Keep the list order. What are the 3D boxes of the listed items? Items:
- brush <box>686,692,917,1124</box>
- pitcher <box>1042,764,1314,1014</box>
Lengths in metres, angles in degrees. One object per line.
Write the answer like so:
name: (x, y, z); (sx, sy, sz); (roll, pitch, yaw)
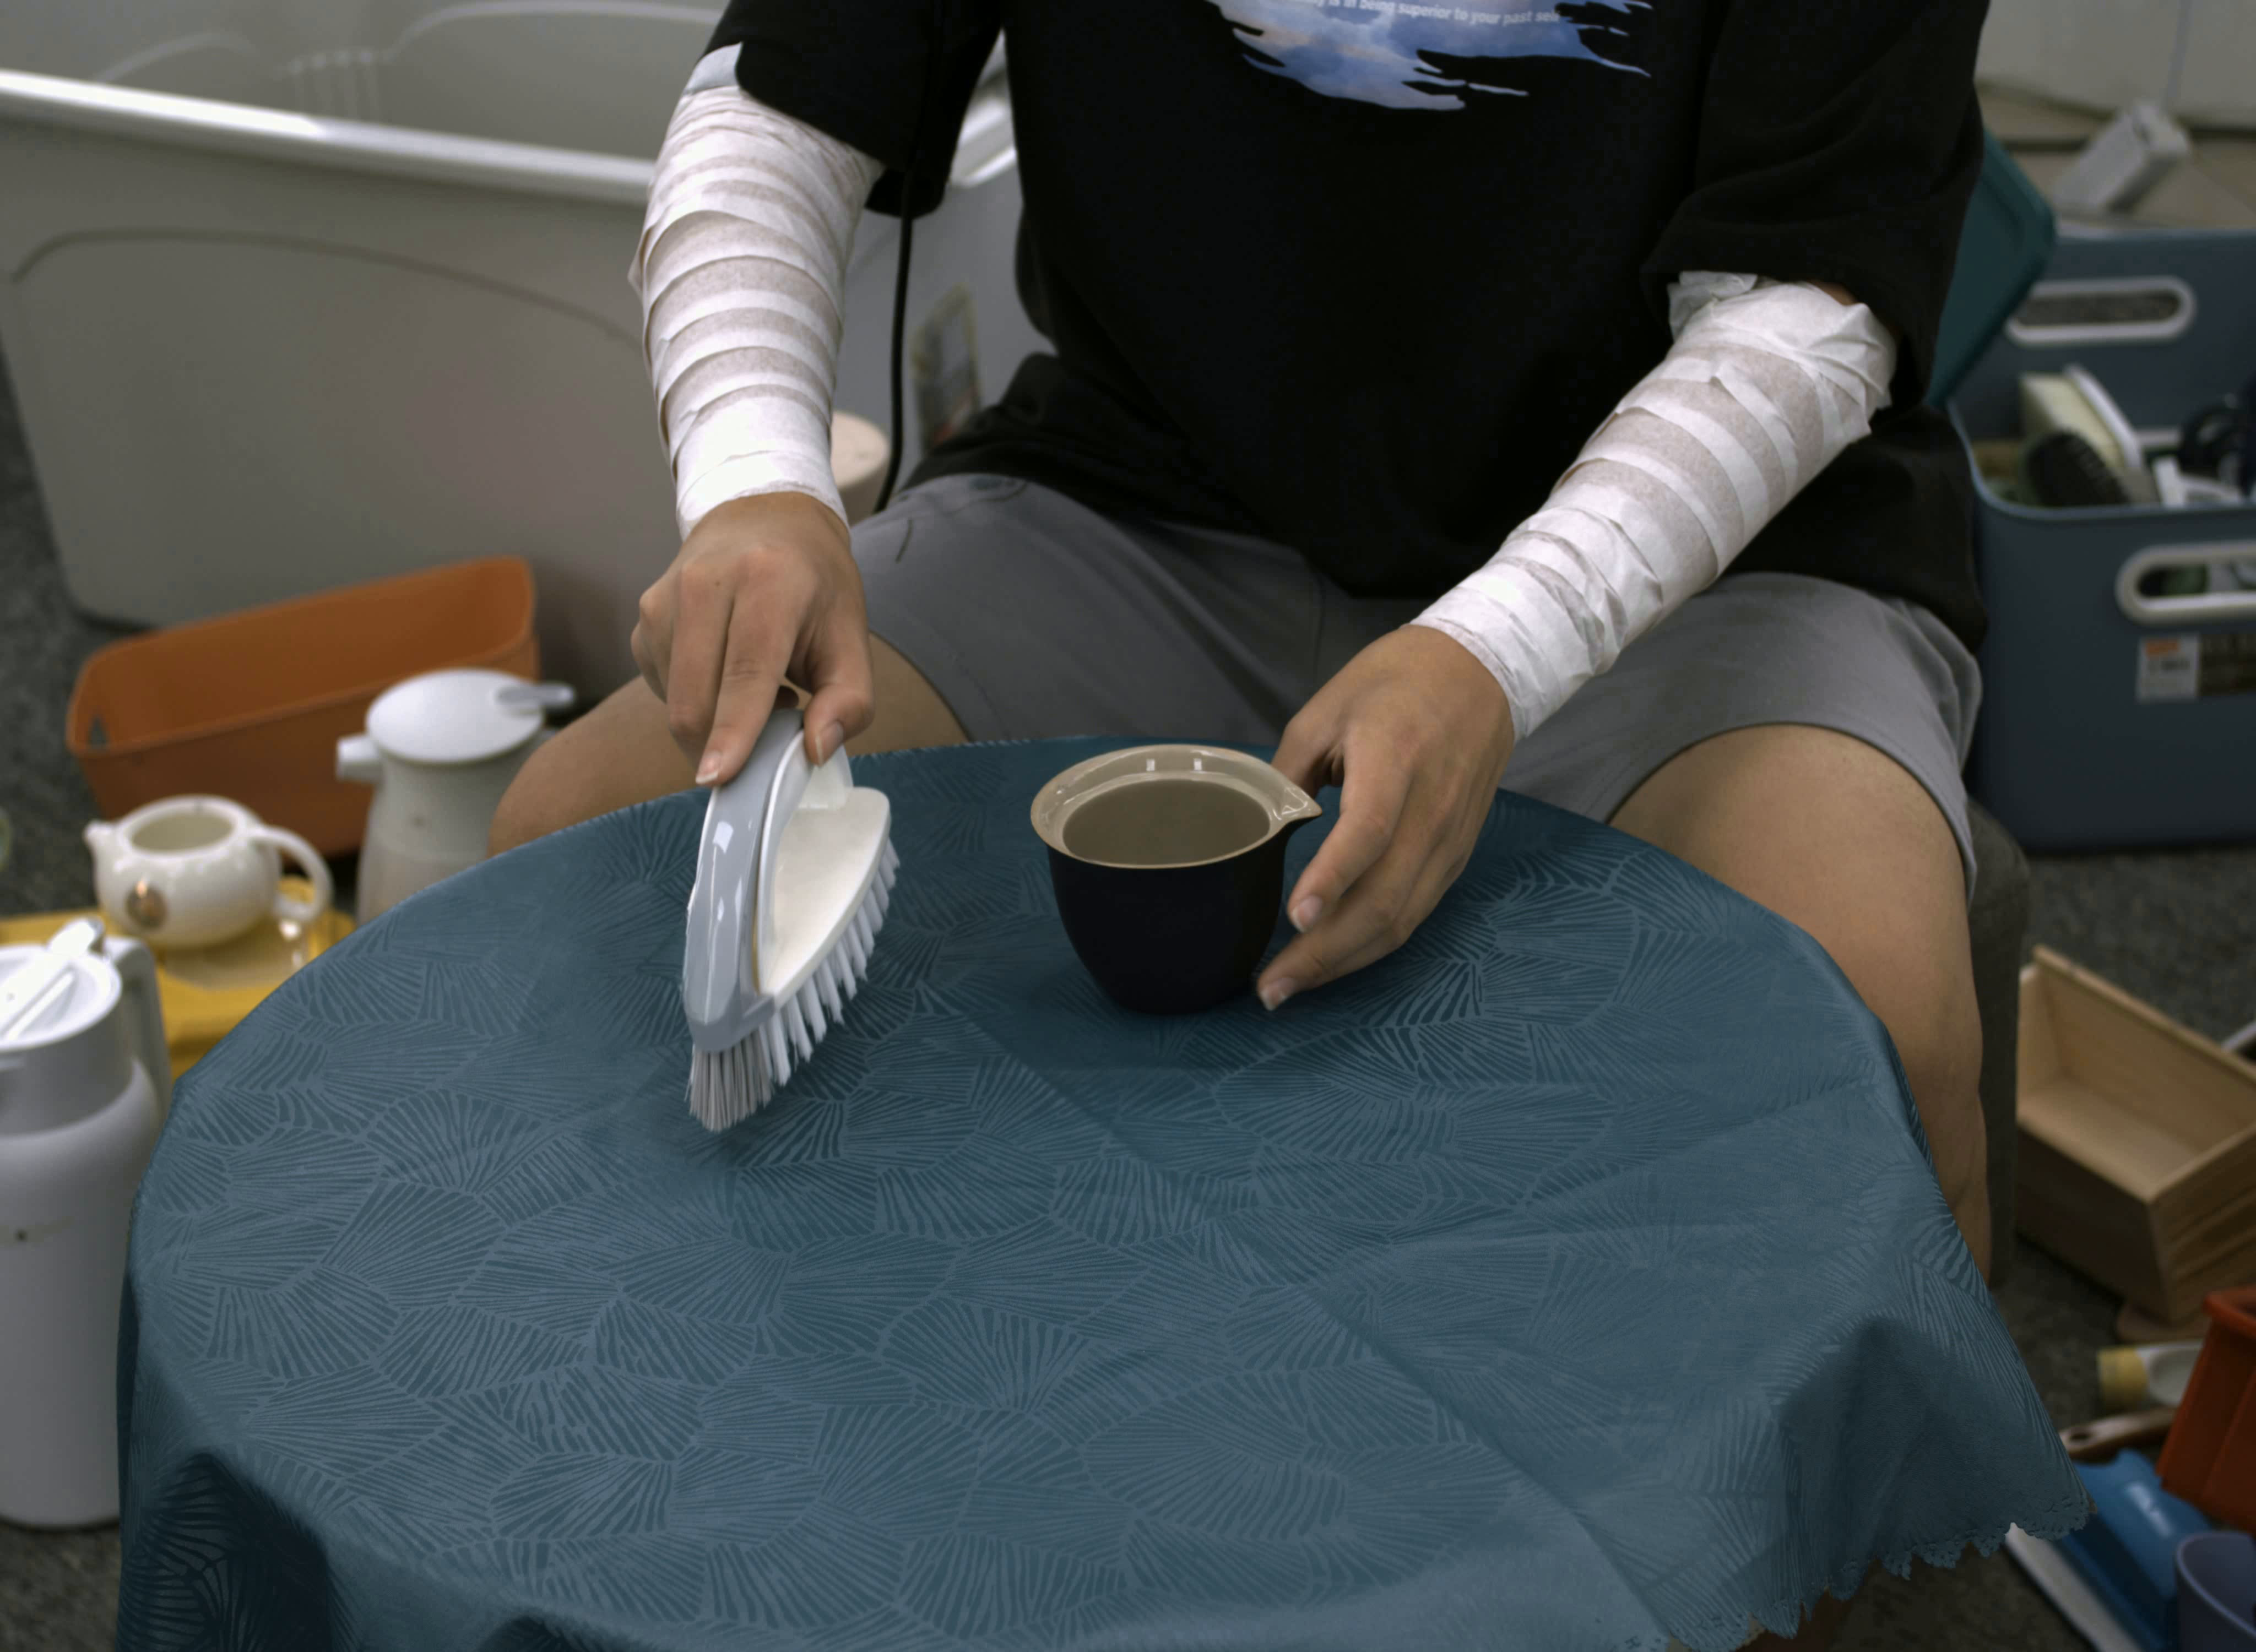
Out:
brush: (-0.123, 0.020, 1.935); (0.061, 0.093, 0.179); (-4, 31, 16)
pitcher: (0.017, 0.024, 1.972); (0.095, 0.070, 0.085); (1, 25, 1)
